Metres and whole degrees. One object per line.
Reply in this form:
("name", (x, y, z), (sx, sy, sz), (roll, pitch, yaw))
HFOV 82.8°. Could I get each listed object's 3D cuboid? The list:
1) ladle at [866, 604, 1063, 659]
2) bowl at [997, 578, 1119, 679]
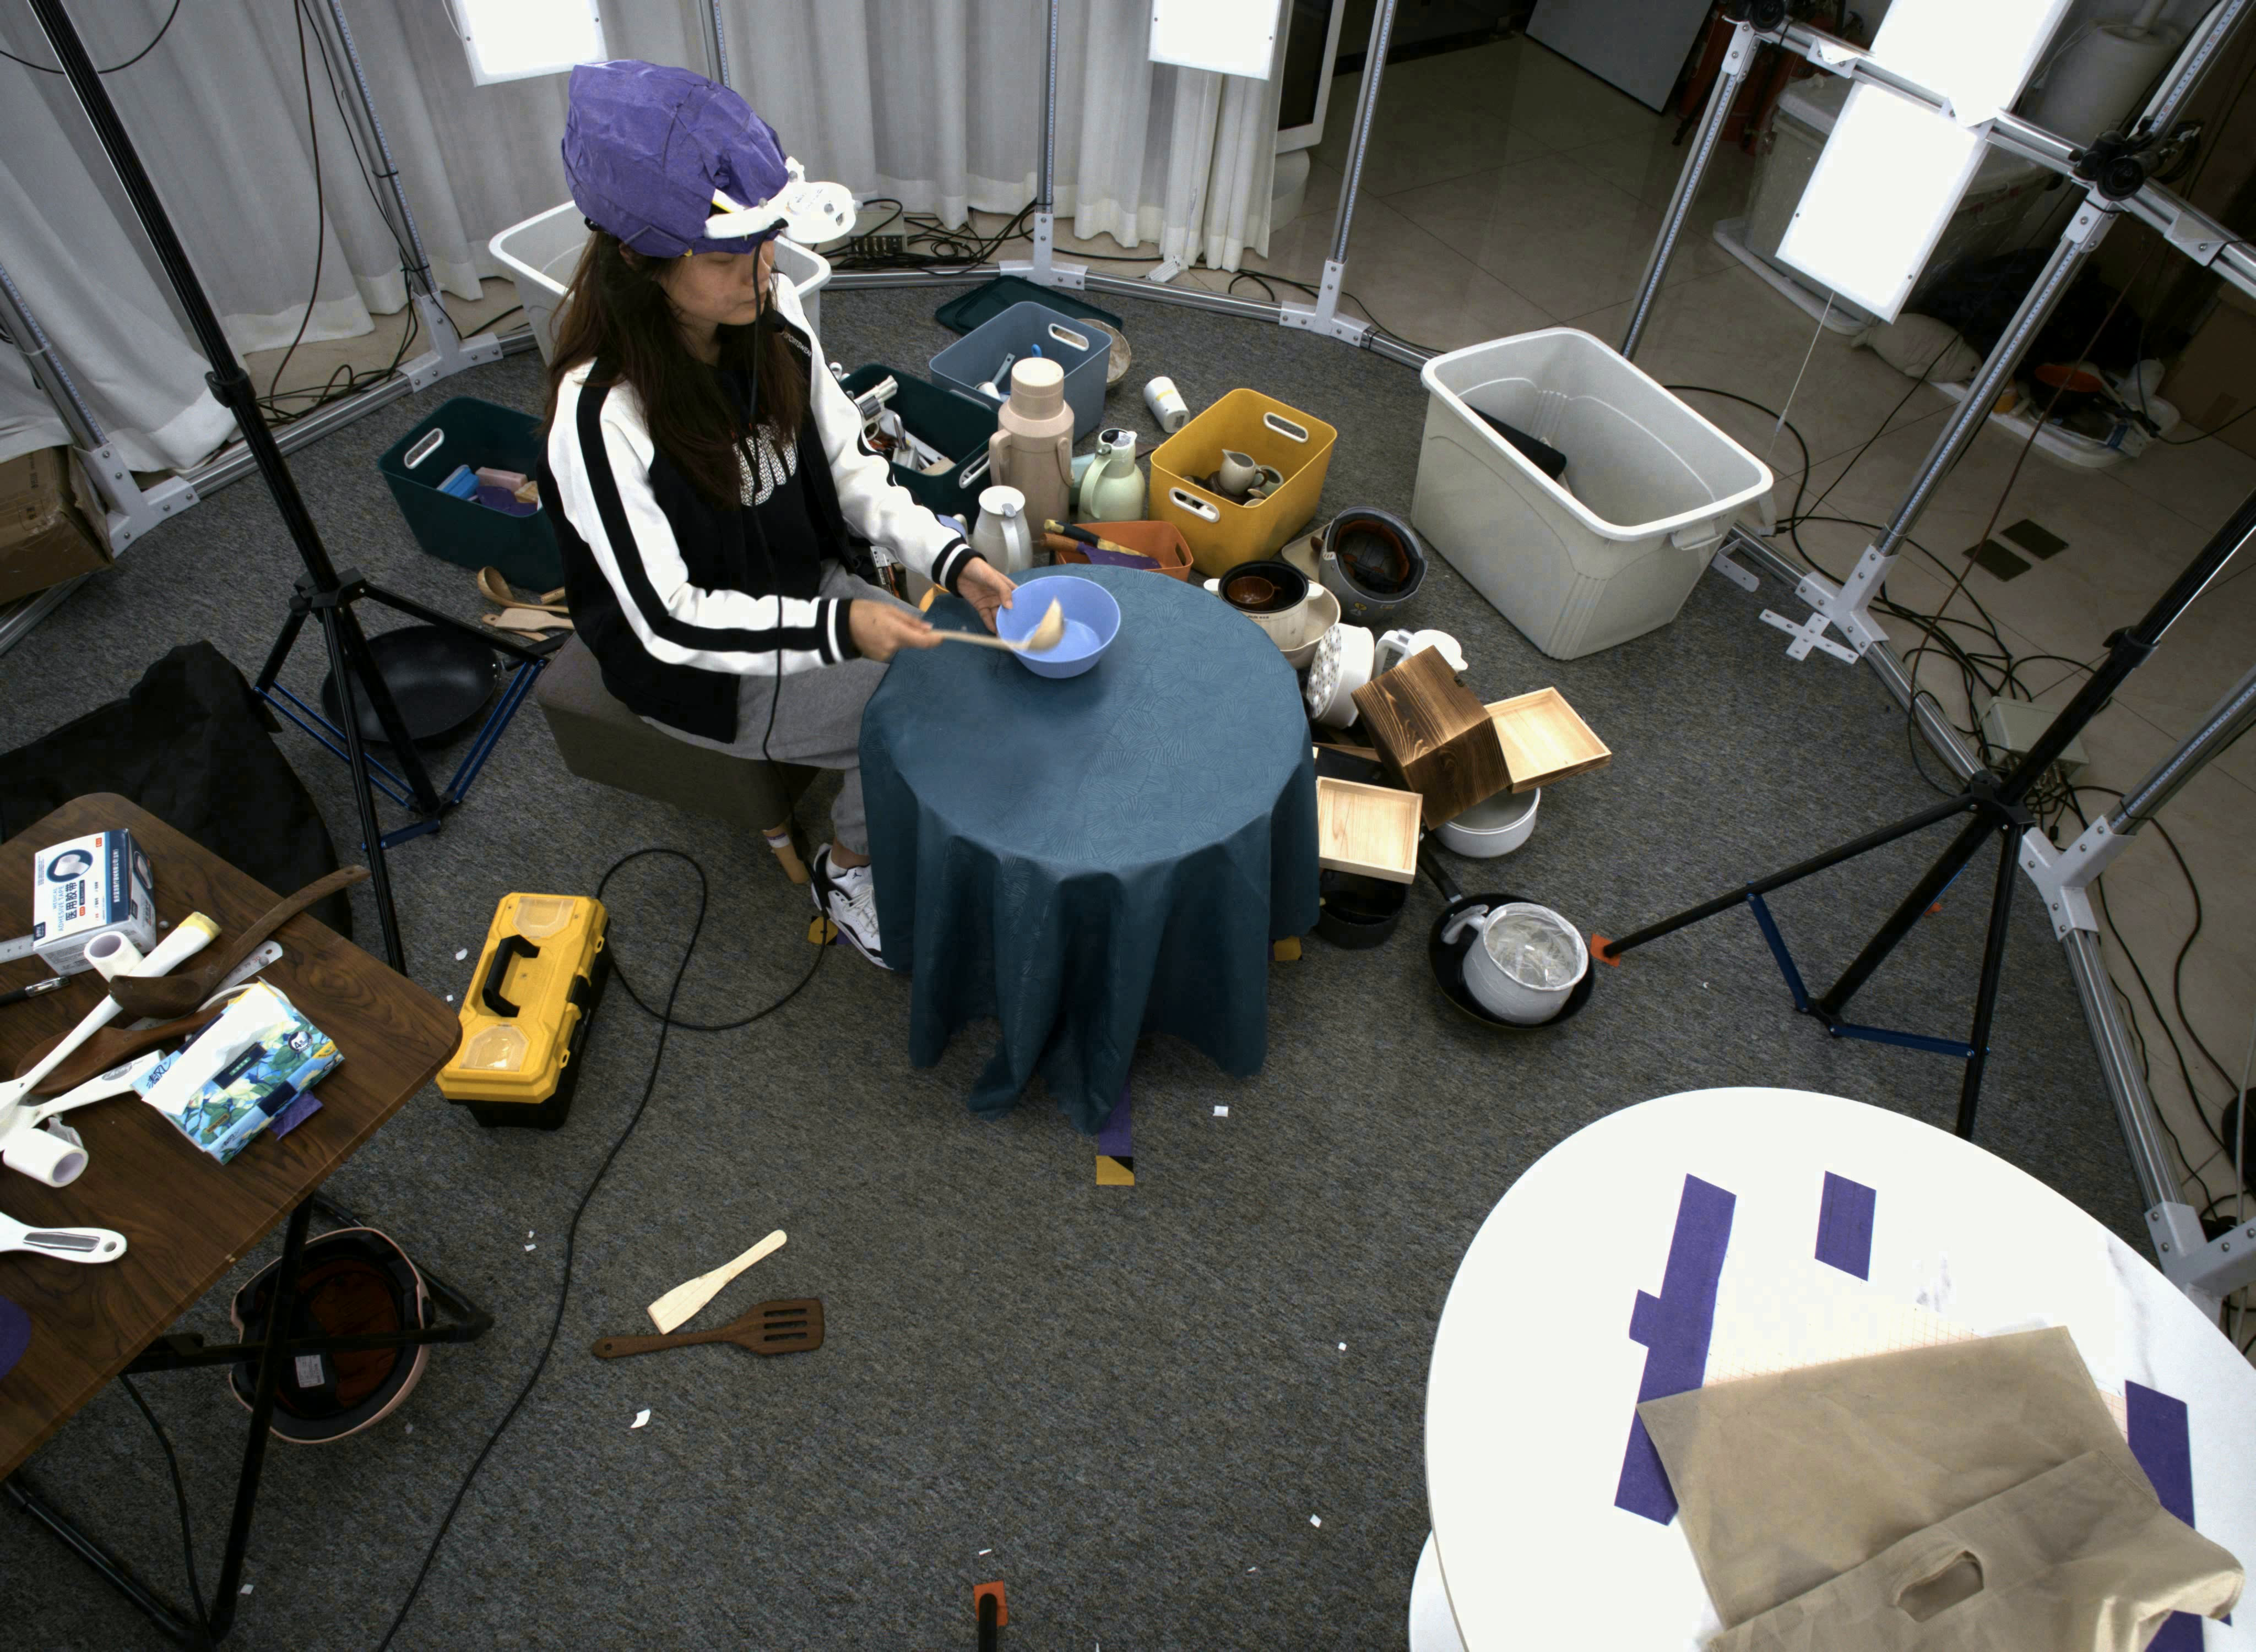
("ladle", (-0.211, -0.261, 1.661), (0.254, 0.071, 0.073), (6, 27, 2))
("bowl", (-0.099, -0.275, 1.852), (0.176, 0.068, 0.180), (-1, 51, 0))
